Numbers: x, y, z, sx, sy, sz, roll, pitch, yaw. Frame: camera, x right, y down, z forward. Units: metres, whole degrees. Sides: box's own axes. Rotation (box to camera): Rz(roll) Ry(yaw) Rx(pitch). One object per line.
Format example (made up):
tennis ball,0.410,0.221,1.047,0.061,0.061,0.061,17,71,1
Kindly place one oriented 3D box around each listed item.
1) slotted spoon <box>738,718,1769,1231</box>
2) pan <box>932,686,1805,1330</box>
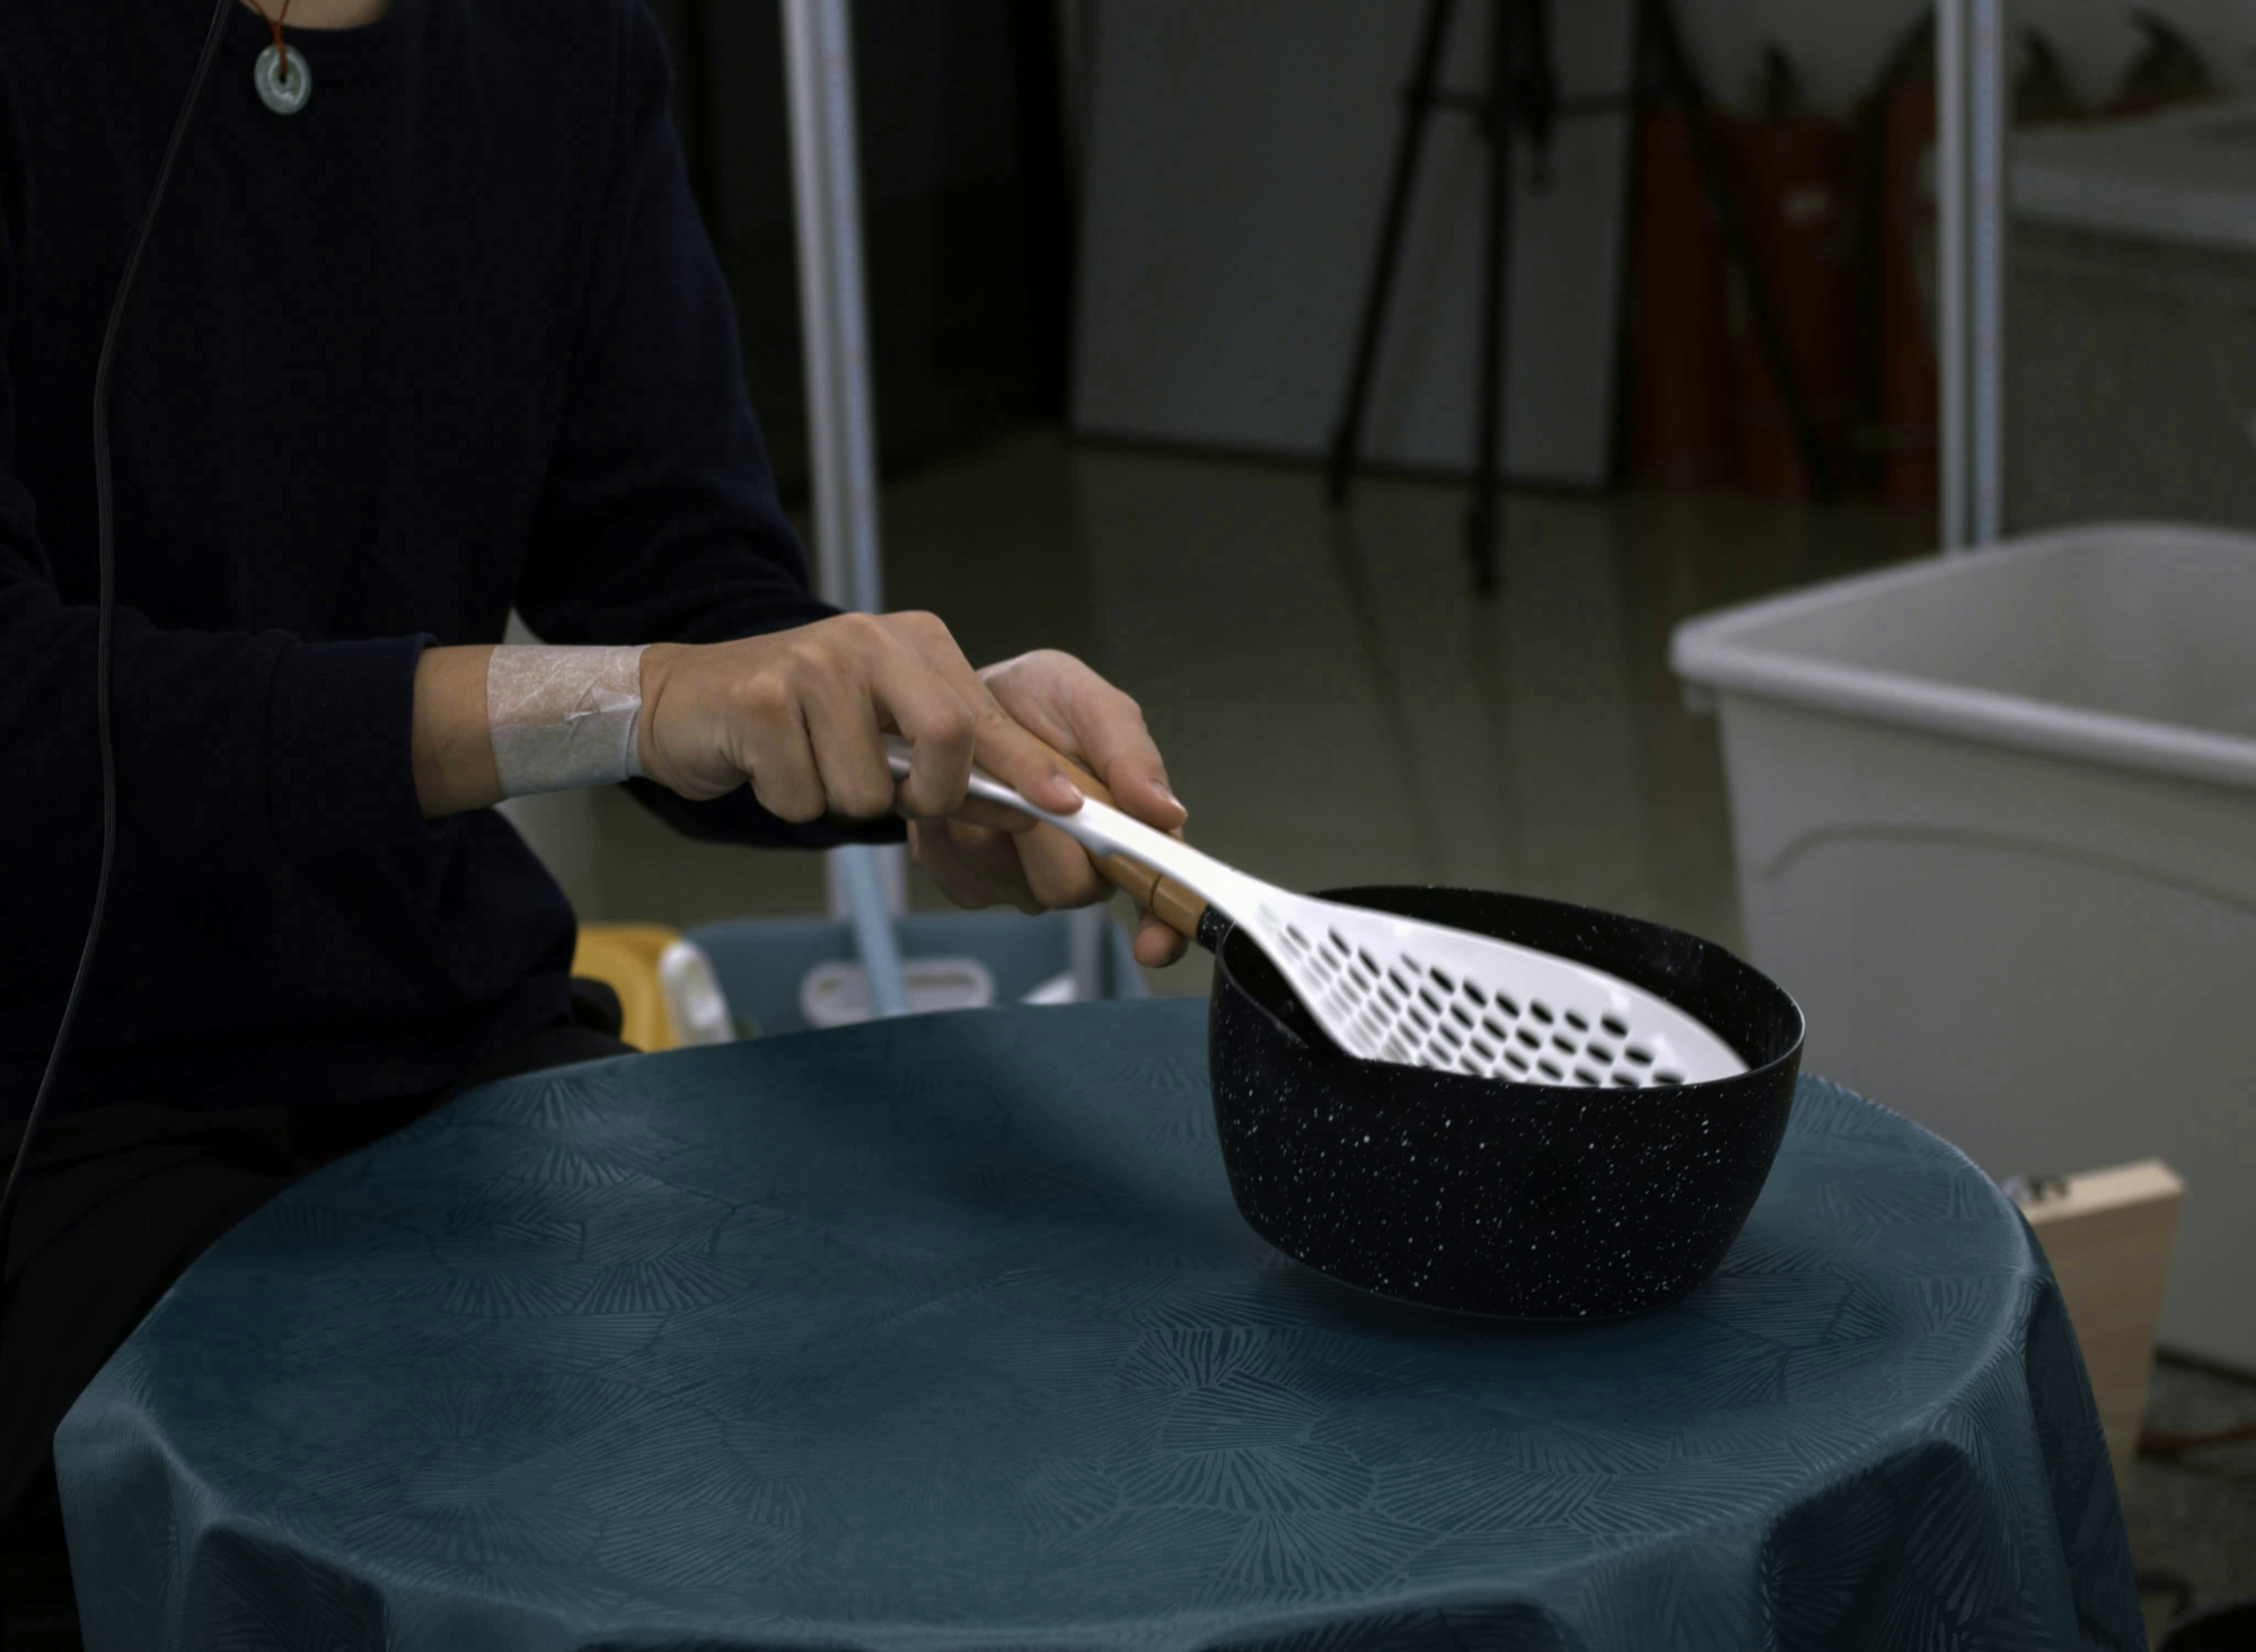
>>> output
slotted spoon,0.036,0.036,1.672,0.347,0.051,0.135,31,31,8
pan,0.056,0.053,1.705,0.346,0.109,0.203,22,24,39
